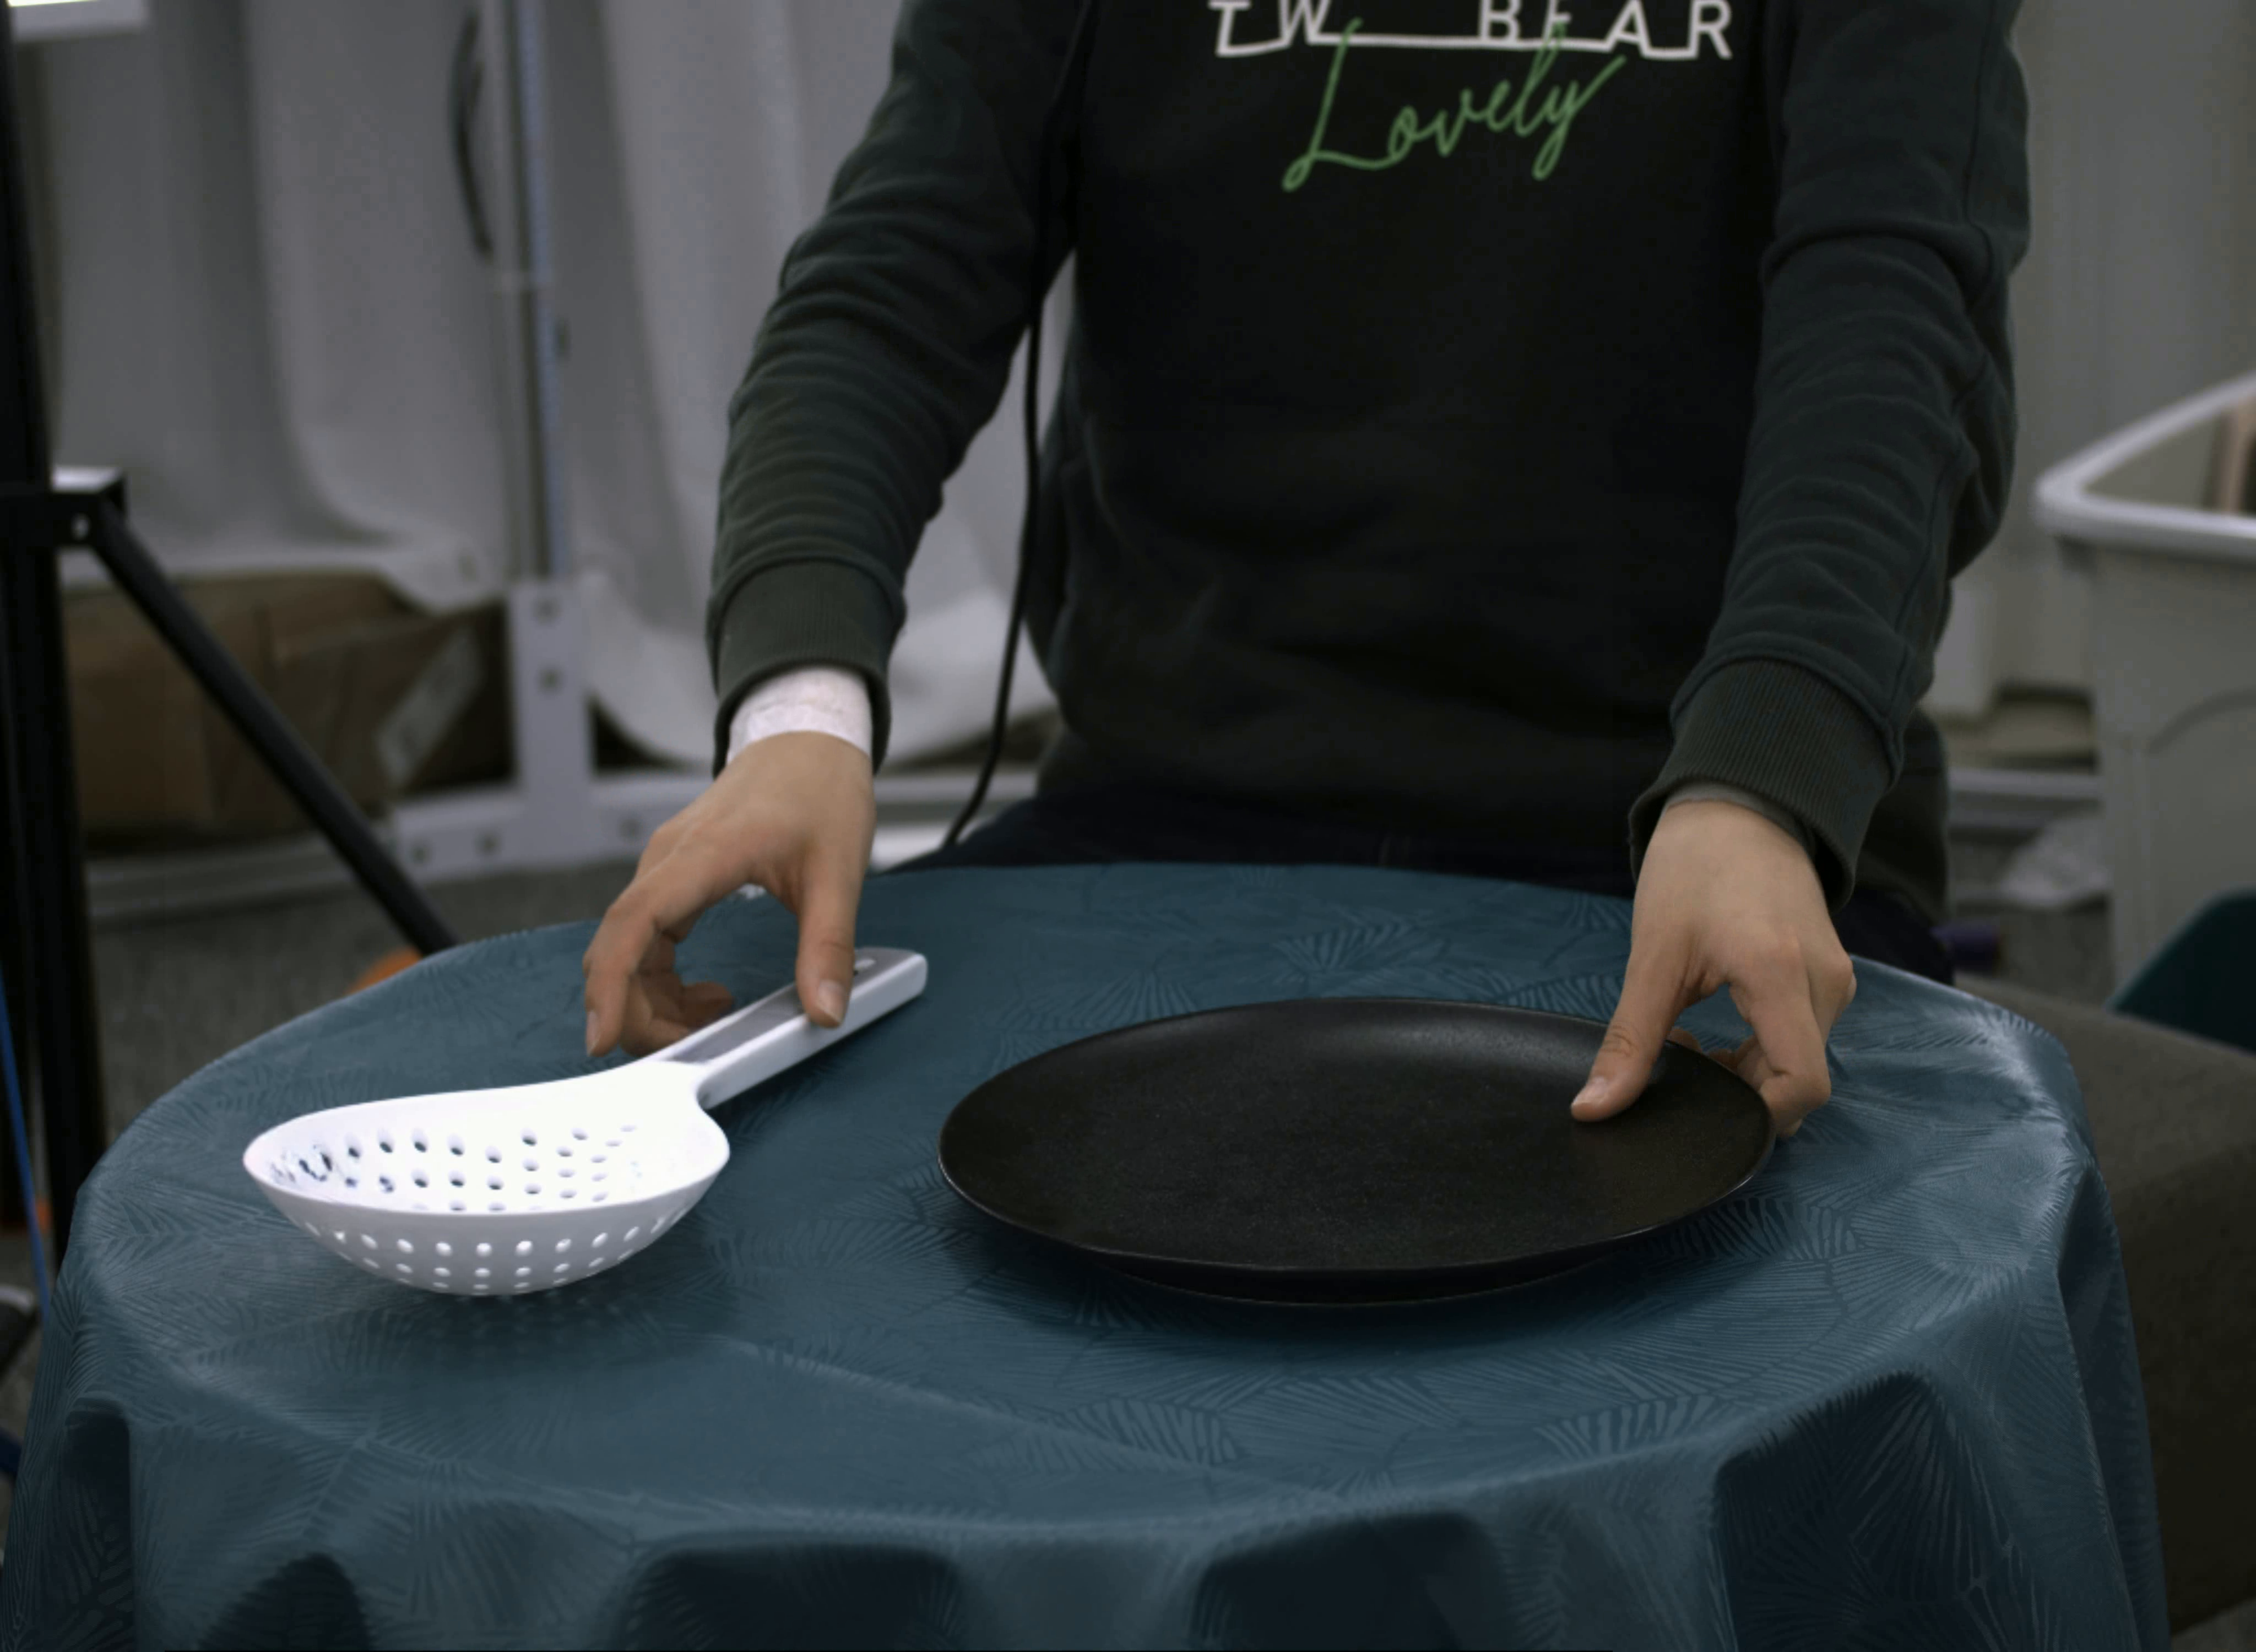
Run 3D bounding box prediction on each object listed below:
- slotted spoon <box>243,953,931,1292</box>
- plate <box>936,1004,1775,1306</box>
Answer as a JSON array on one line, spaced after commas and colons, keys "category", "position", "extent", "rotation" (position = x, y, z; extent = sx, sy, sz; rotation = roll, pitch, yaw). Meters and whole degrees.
[{"category": "slotted spoon", "position": [-0.141, 0.079, 1.600], "extent": [0.138, 0.046, 0.345], "rotation": [6, 17, 22]}, {"category": "plate", "position": [0.066, 0.098, 1.541], "extent": [0.243, 0.023, 0.245], "rotation": [-3, 16, -1]}]
